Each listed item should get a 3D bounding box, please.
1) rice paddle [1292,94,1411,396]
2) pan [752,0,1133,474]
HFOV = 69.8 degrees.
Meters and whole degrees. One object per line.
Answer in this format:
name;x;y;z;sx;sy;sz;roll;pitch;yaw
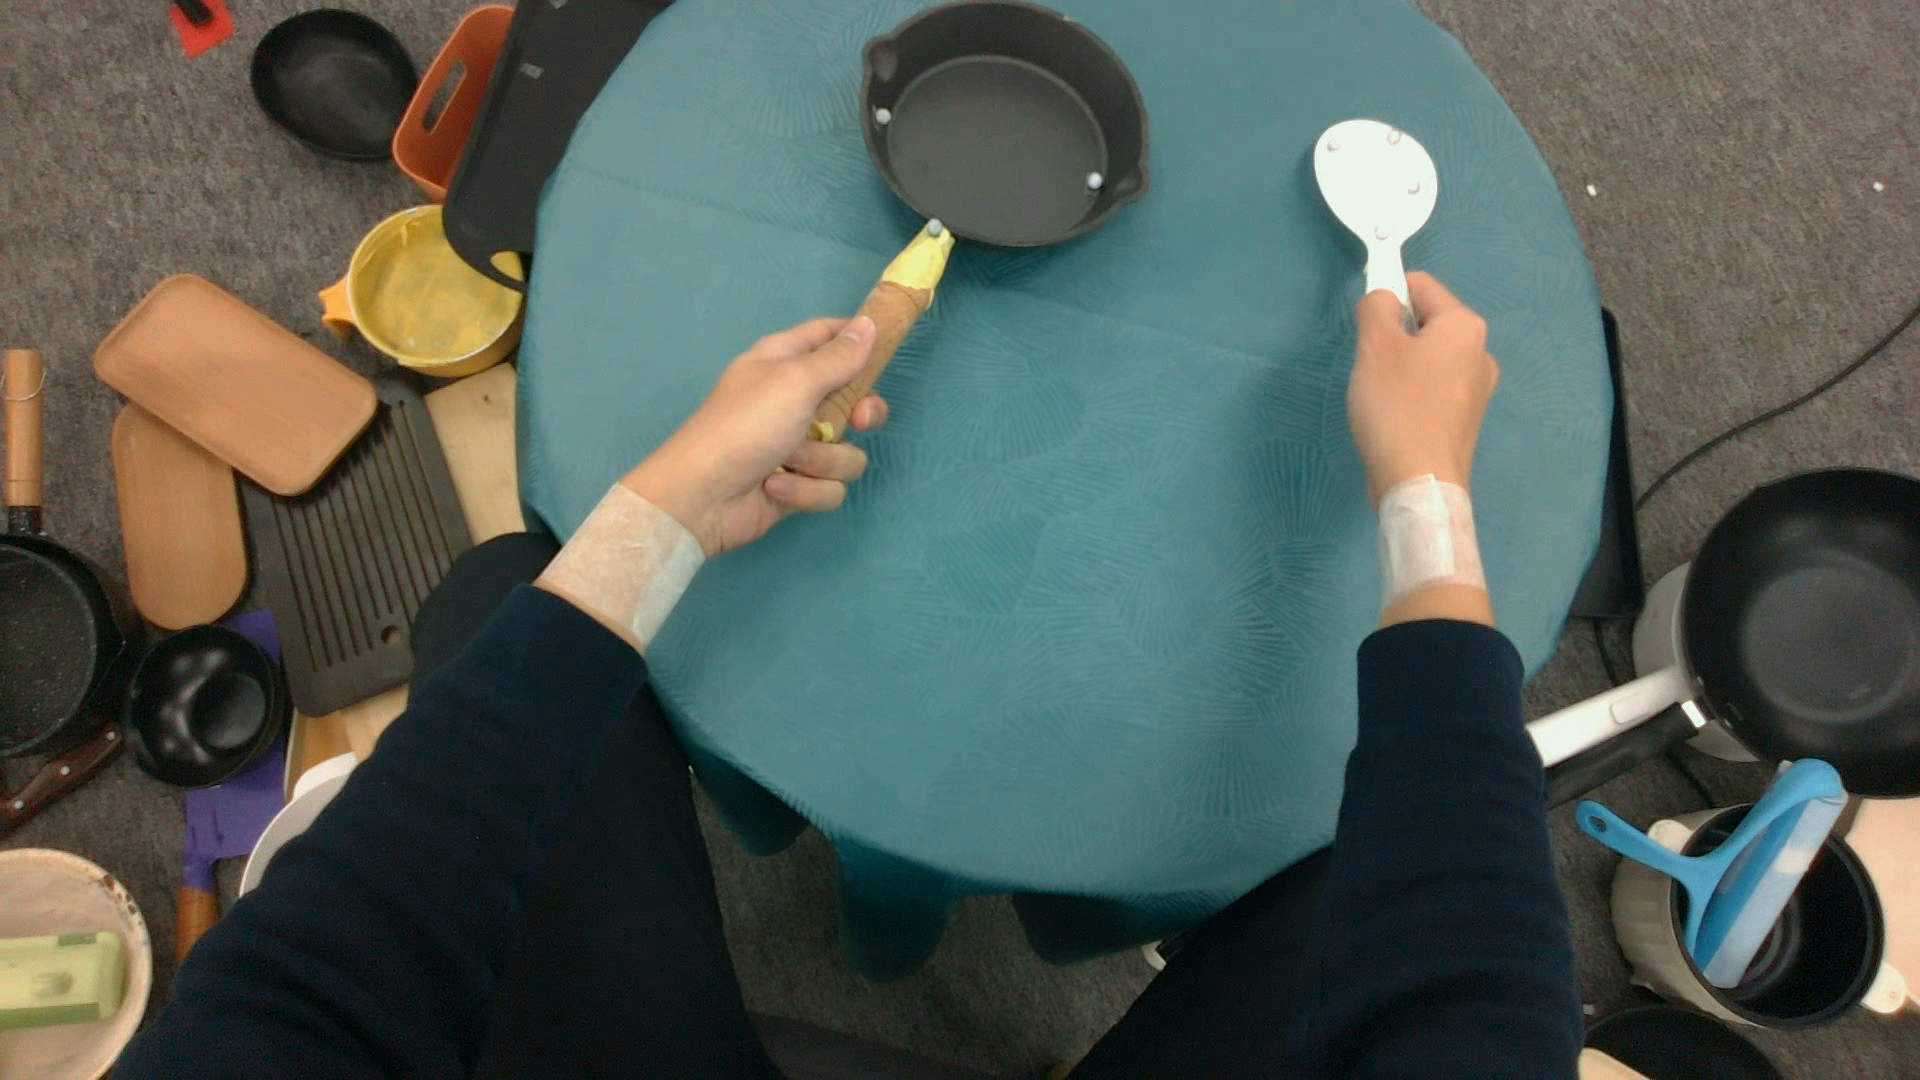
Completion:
rice paddle;0.218;-0.171;0.750;0.069;0.029;0.206;5;61;-3
pan;-0.023;-0.163;0.713;0.169;0.049;0.325;28;67;2
